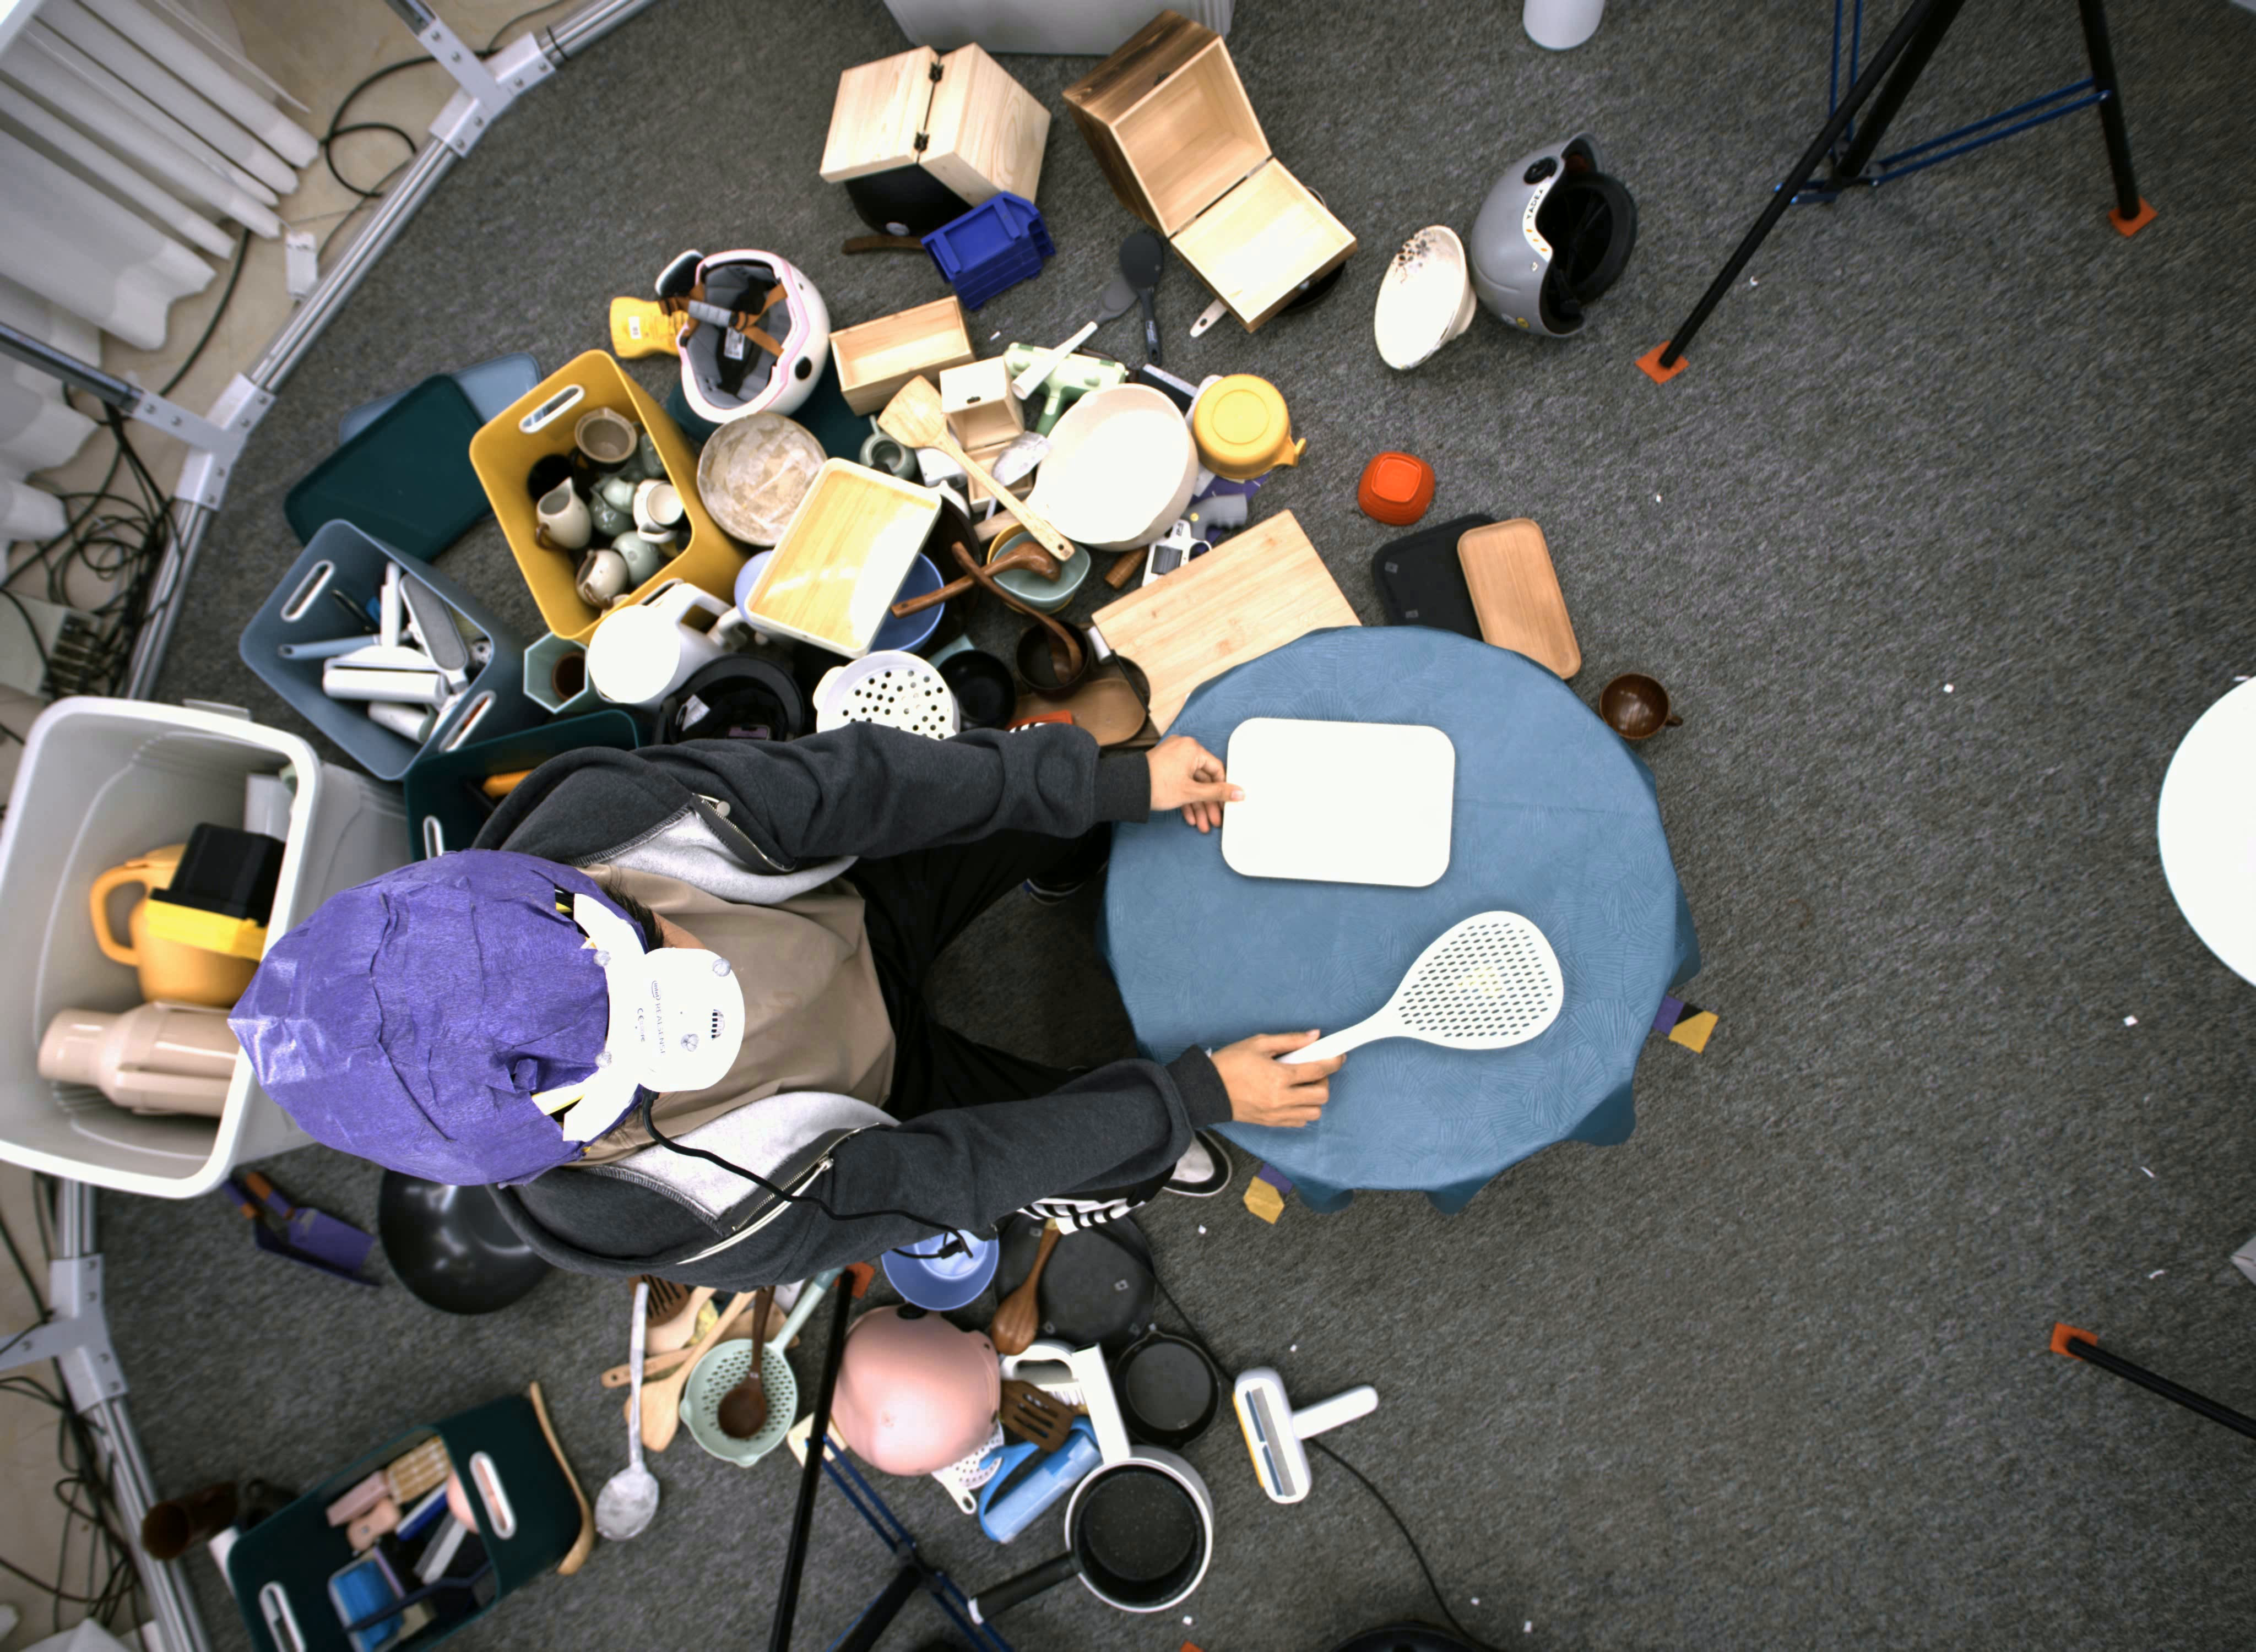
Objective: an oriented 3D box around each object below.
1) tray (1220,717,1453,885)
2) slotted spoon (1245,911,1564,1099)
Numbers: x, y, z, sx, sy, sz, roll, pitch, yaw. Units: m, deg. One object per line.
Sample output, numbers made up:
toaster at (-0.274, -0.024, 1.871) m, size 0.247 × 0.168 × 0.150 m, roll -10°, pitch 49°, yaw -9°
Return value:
tray at (0.220, -0.028, 1.462) m, size 0.240 × 0.017 × 0.171 m, roll 4°, pitch 88°, yaw 9°
slotted spoon at (0.276, 0.201, 1.430) m, size 0.350 × 0.050 × 0.136 m, roll -25°, pitch 84°, yaw 8°
